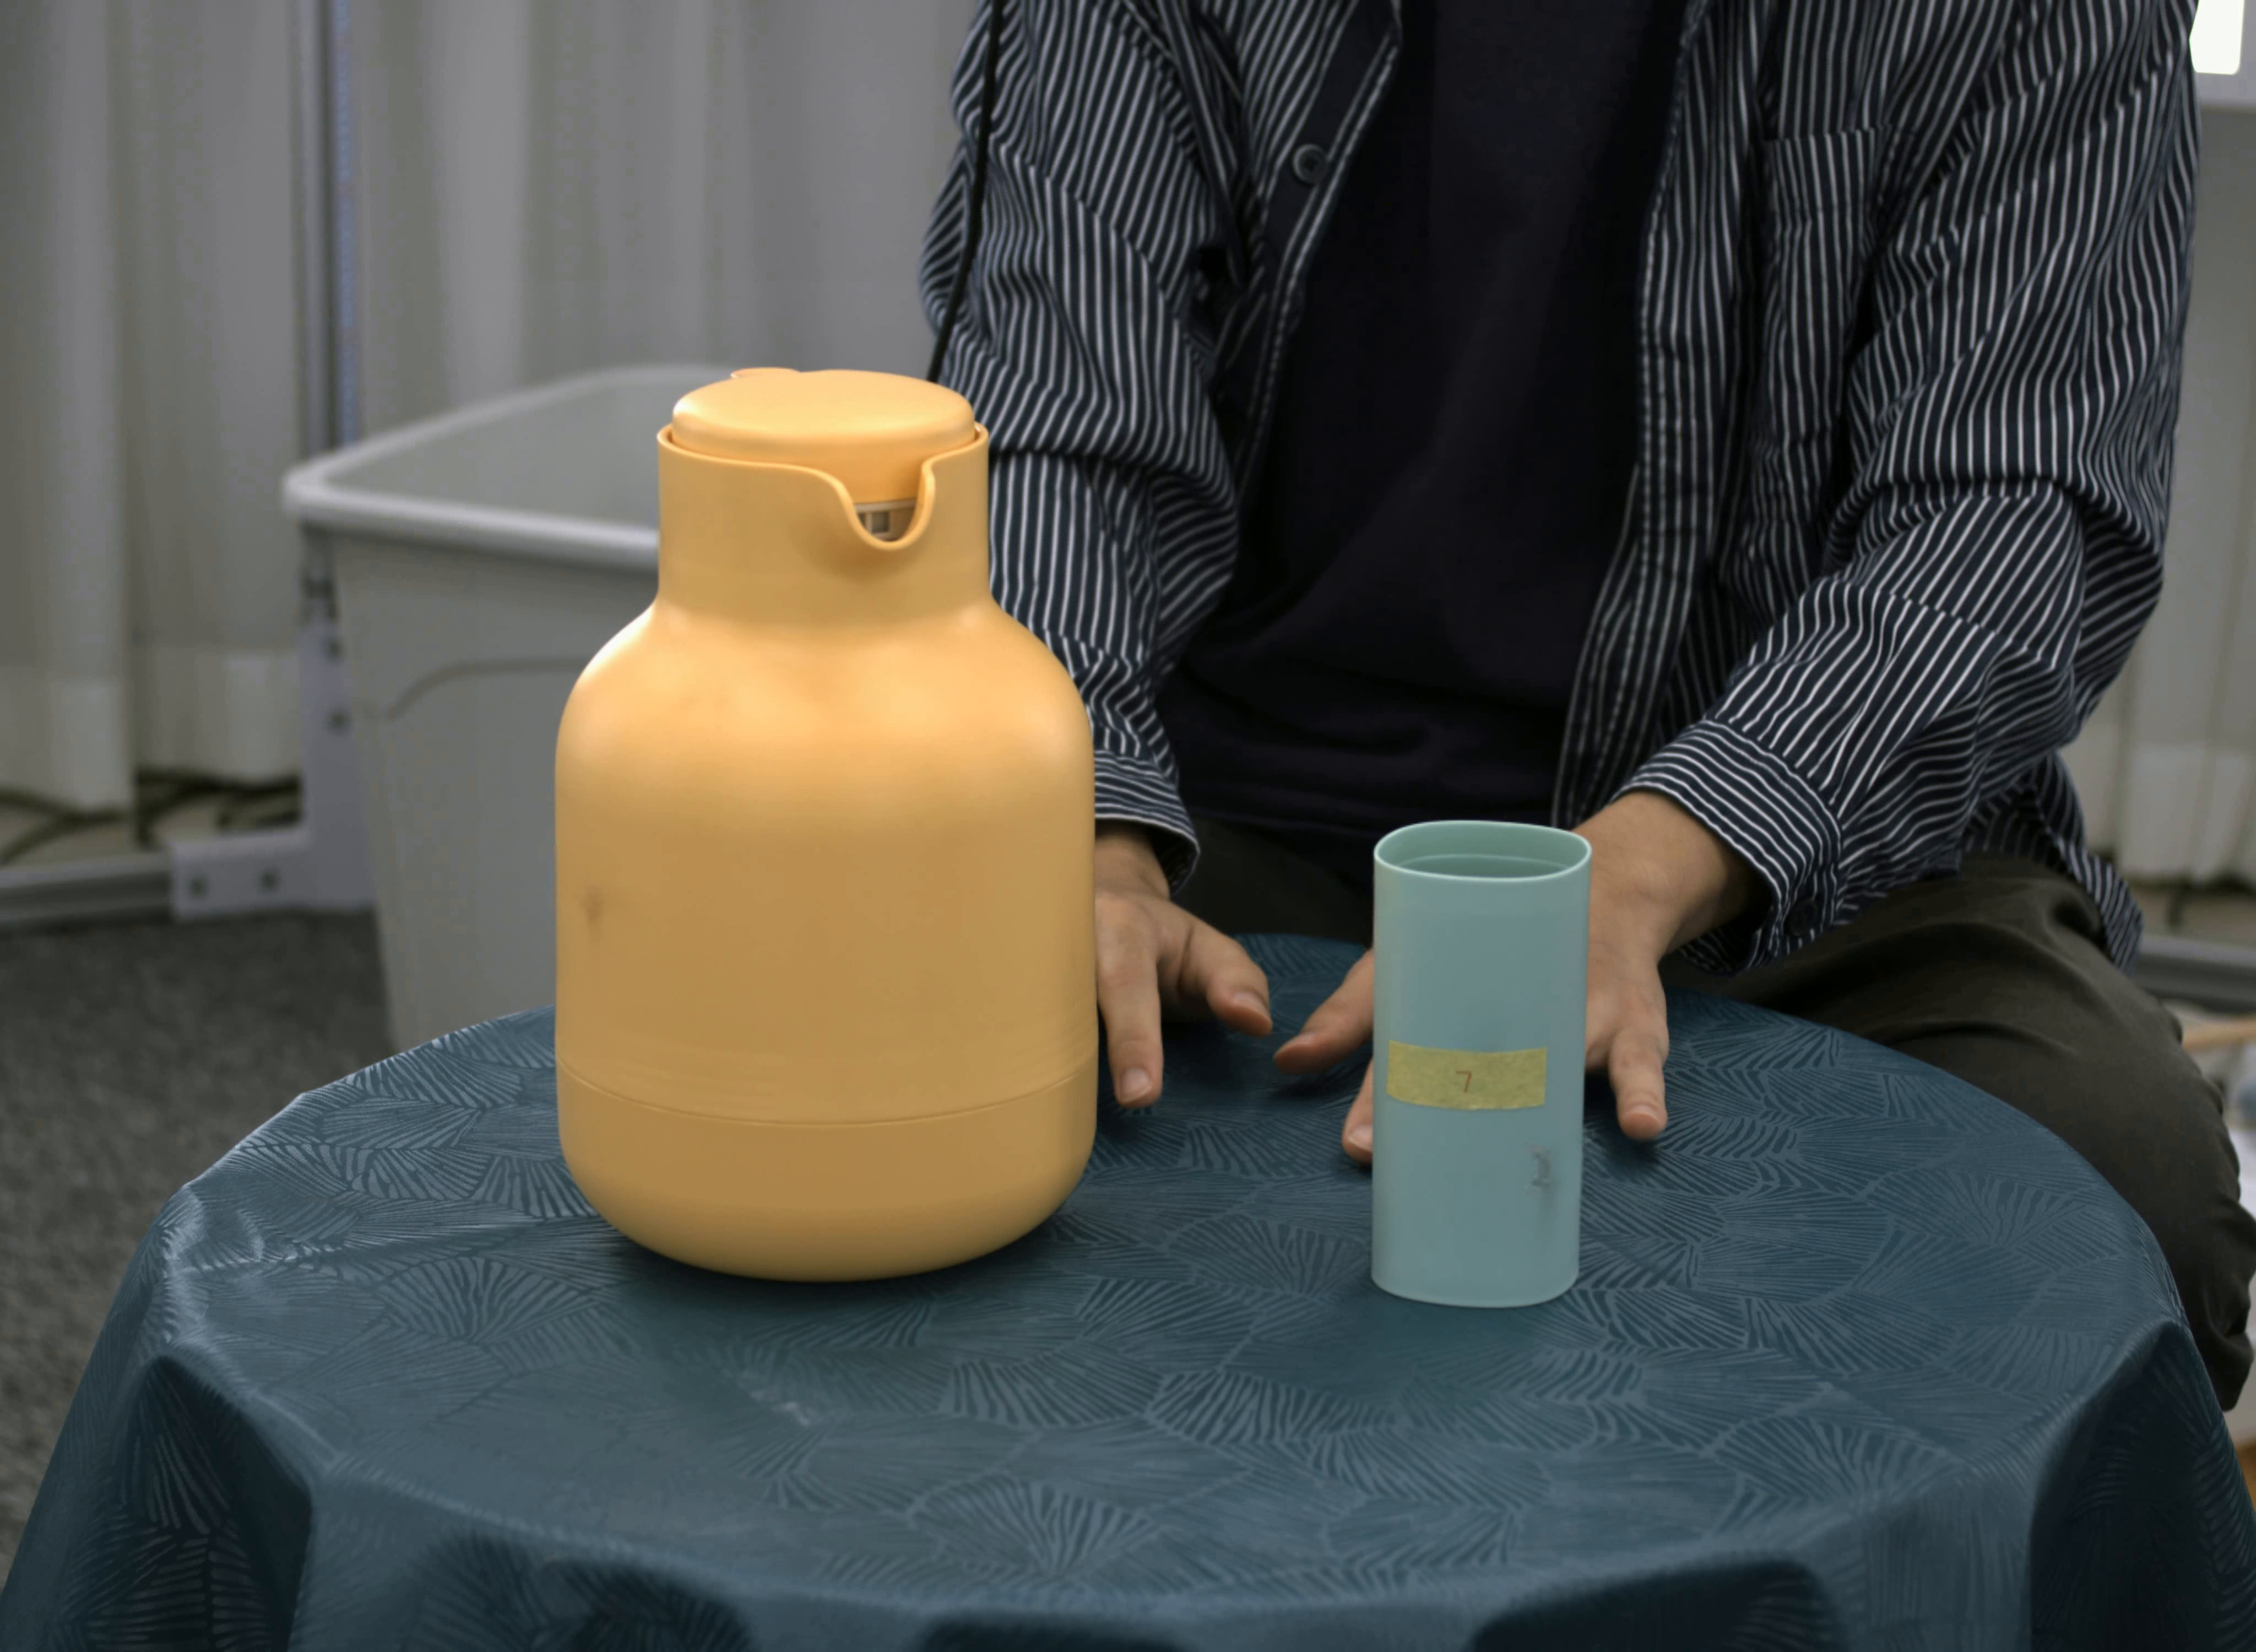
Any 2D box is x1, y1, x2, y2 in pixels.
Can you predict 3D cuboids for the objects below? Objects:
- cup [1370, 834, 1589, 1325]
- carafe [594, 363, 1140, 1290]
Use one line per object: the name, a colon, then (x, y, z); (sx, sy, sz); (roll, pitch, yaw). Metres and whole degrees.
cup: (0.103, 0.073, 1.544); (0.066, 0.133, 0.066); (0, 15, 1)
carafe: (-0.083, -0.008, 1.573); (0.164, 0.262, 0.200); (-5, 17, -20)
